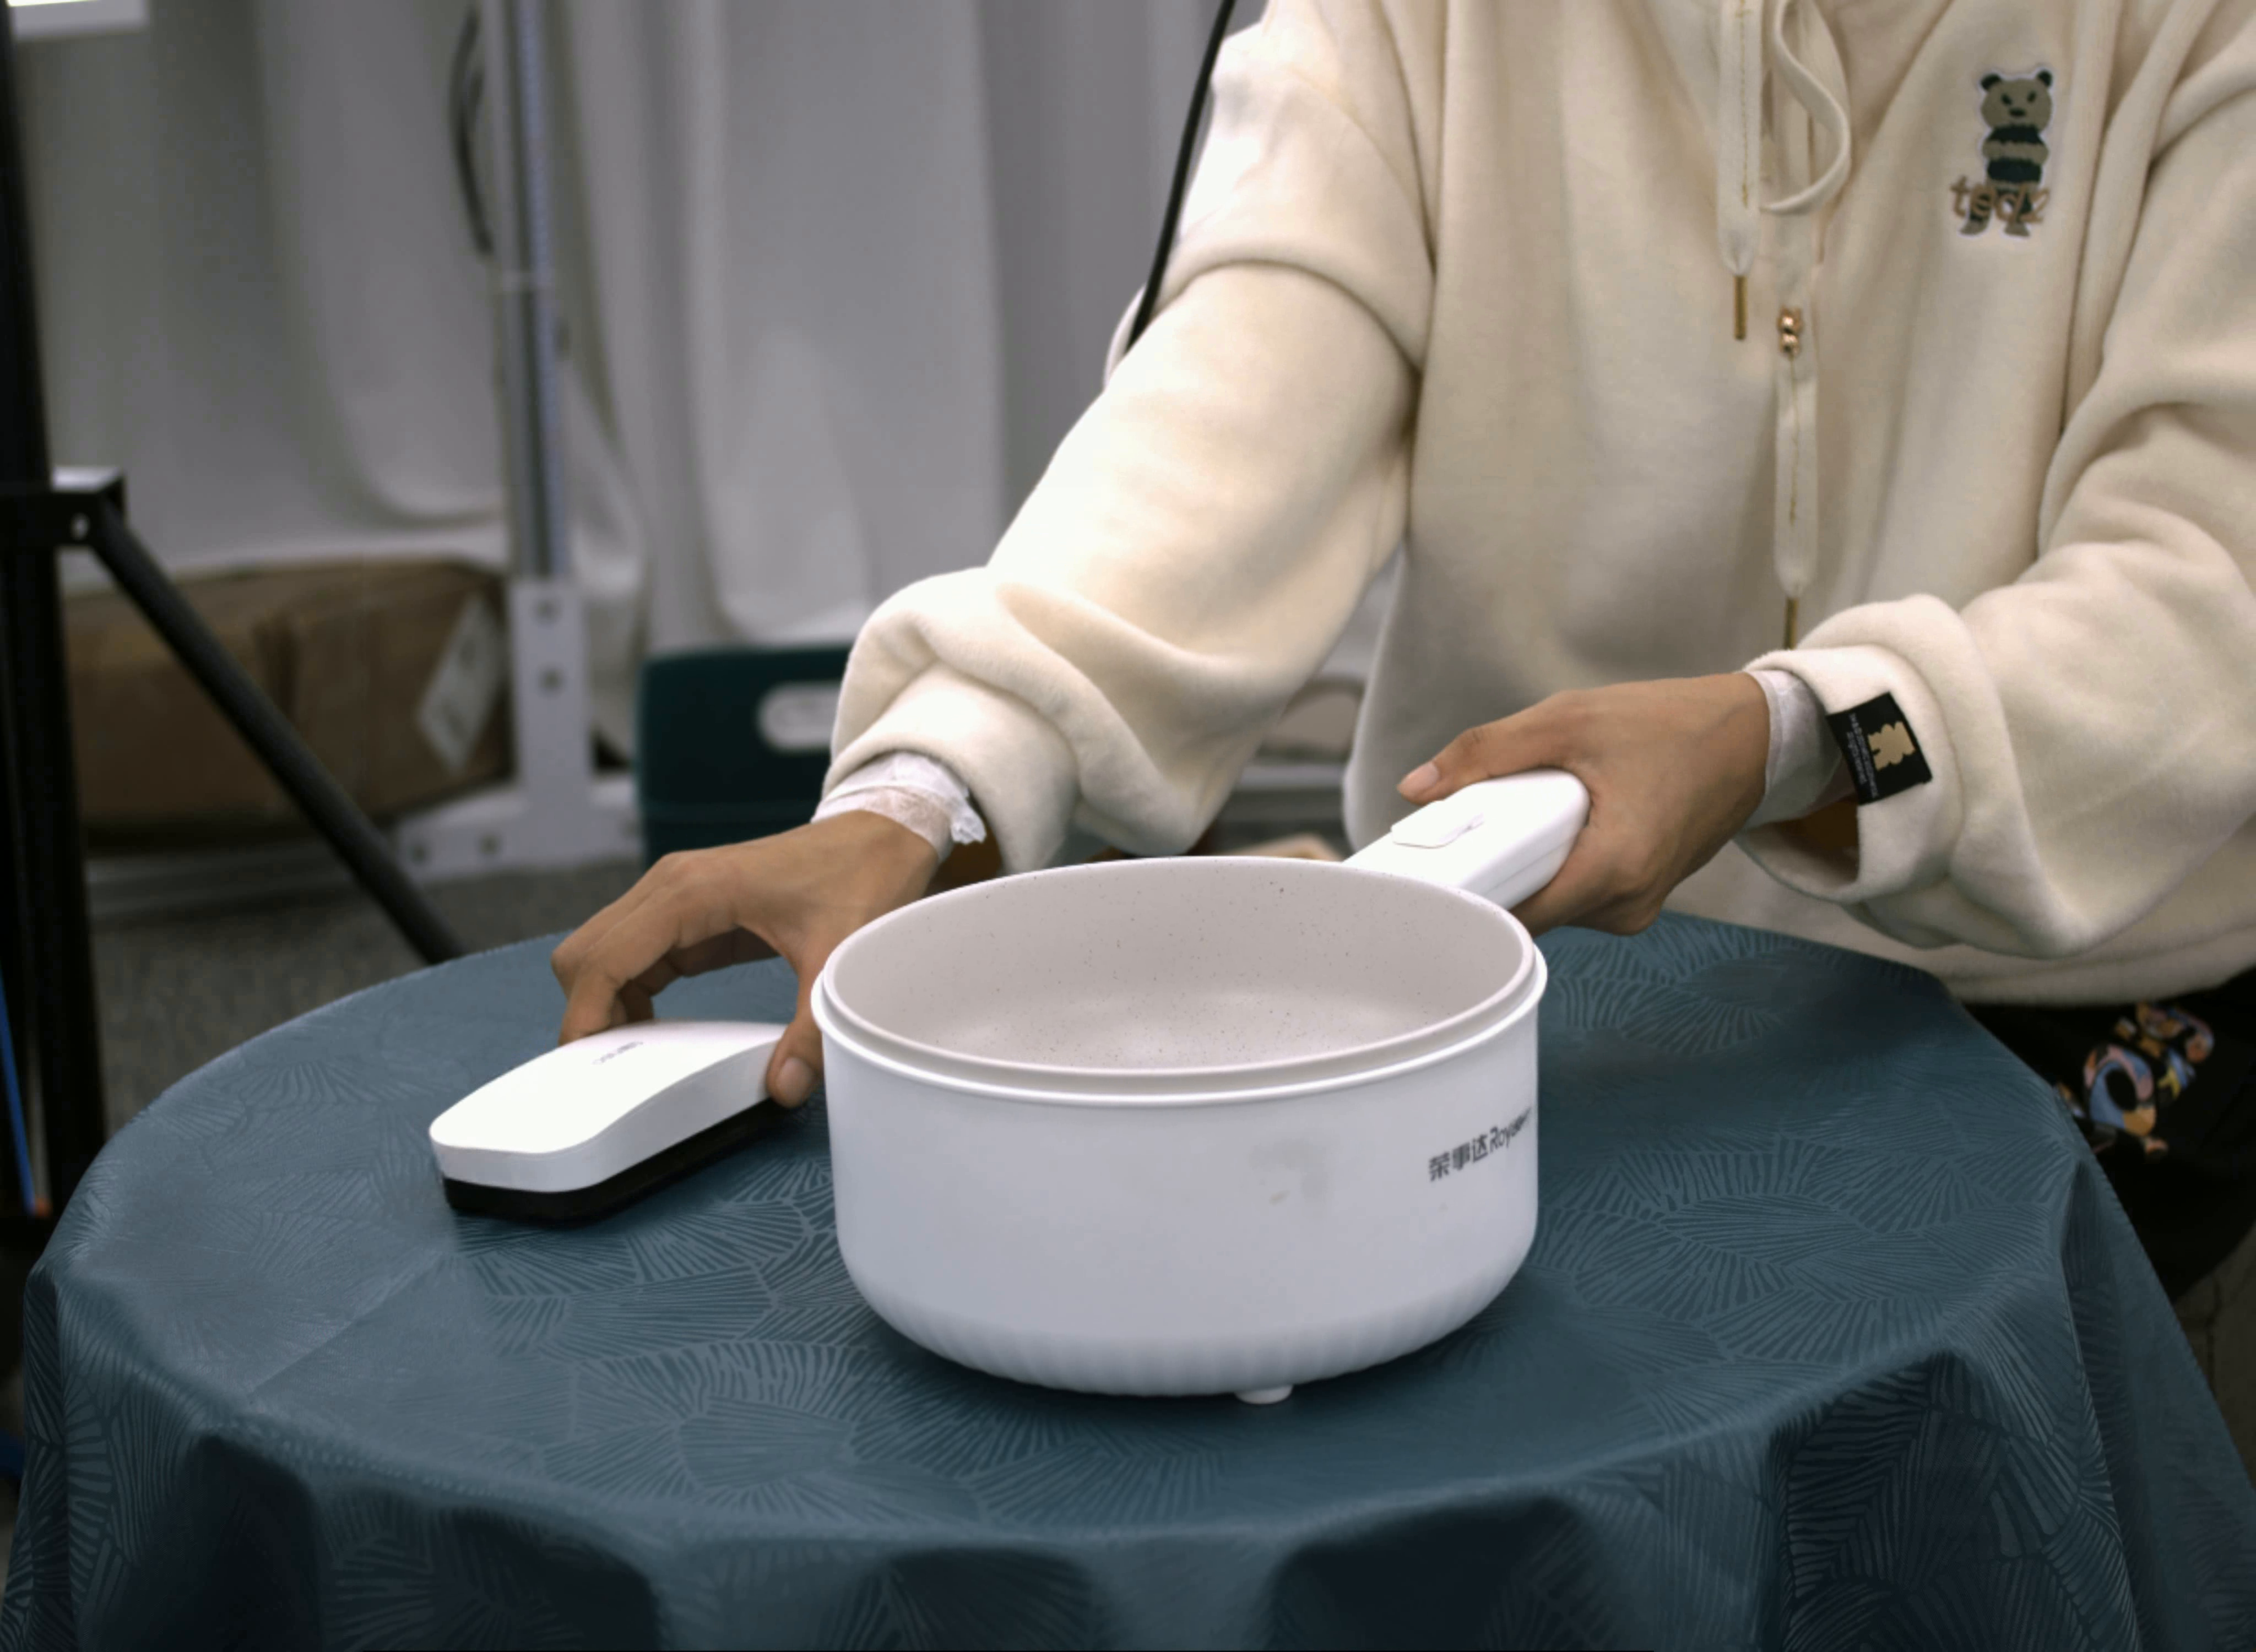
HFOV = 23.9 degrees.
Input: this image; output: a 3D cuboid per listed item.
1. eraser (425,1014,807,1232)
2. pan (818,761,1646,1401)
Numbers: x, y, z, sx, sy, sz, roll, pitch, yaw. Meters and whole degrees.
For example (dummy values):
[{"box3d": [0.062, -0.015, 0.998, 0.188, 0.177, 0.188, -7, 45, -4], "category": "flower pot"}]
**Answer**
[{"box3d": [-0.151, 0.085, 1.603, 0.064, 0.034, 0.129, 7, 19, 33], "category": "eraser"}, {"box3d": [0.054, 0.066, 1.515, 0.205, 0.102, 0.348, 8, 17, 30], "category": "pan"}]
